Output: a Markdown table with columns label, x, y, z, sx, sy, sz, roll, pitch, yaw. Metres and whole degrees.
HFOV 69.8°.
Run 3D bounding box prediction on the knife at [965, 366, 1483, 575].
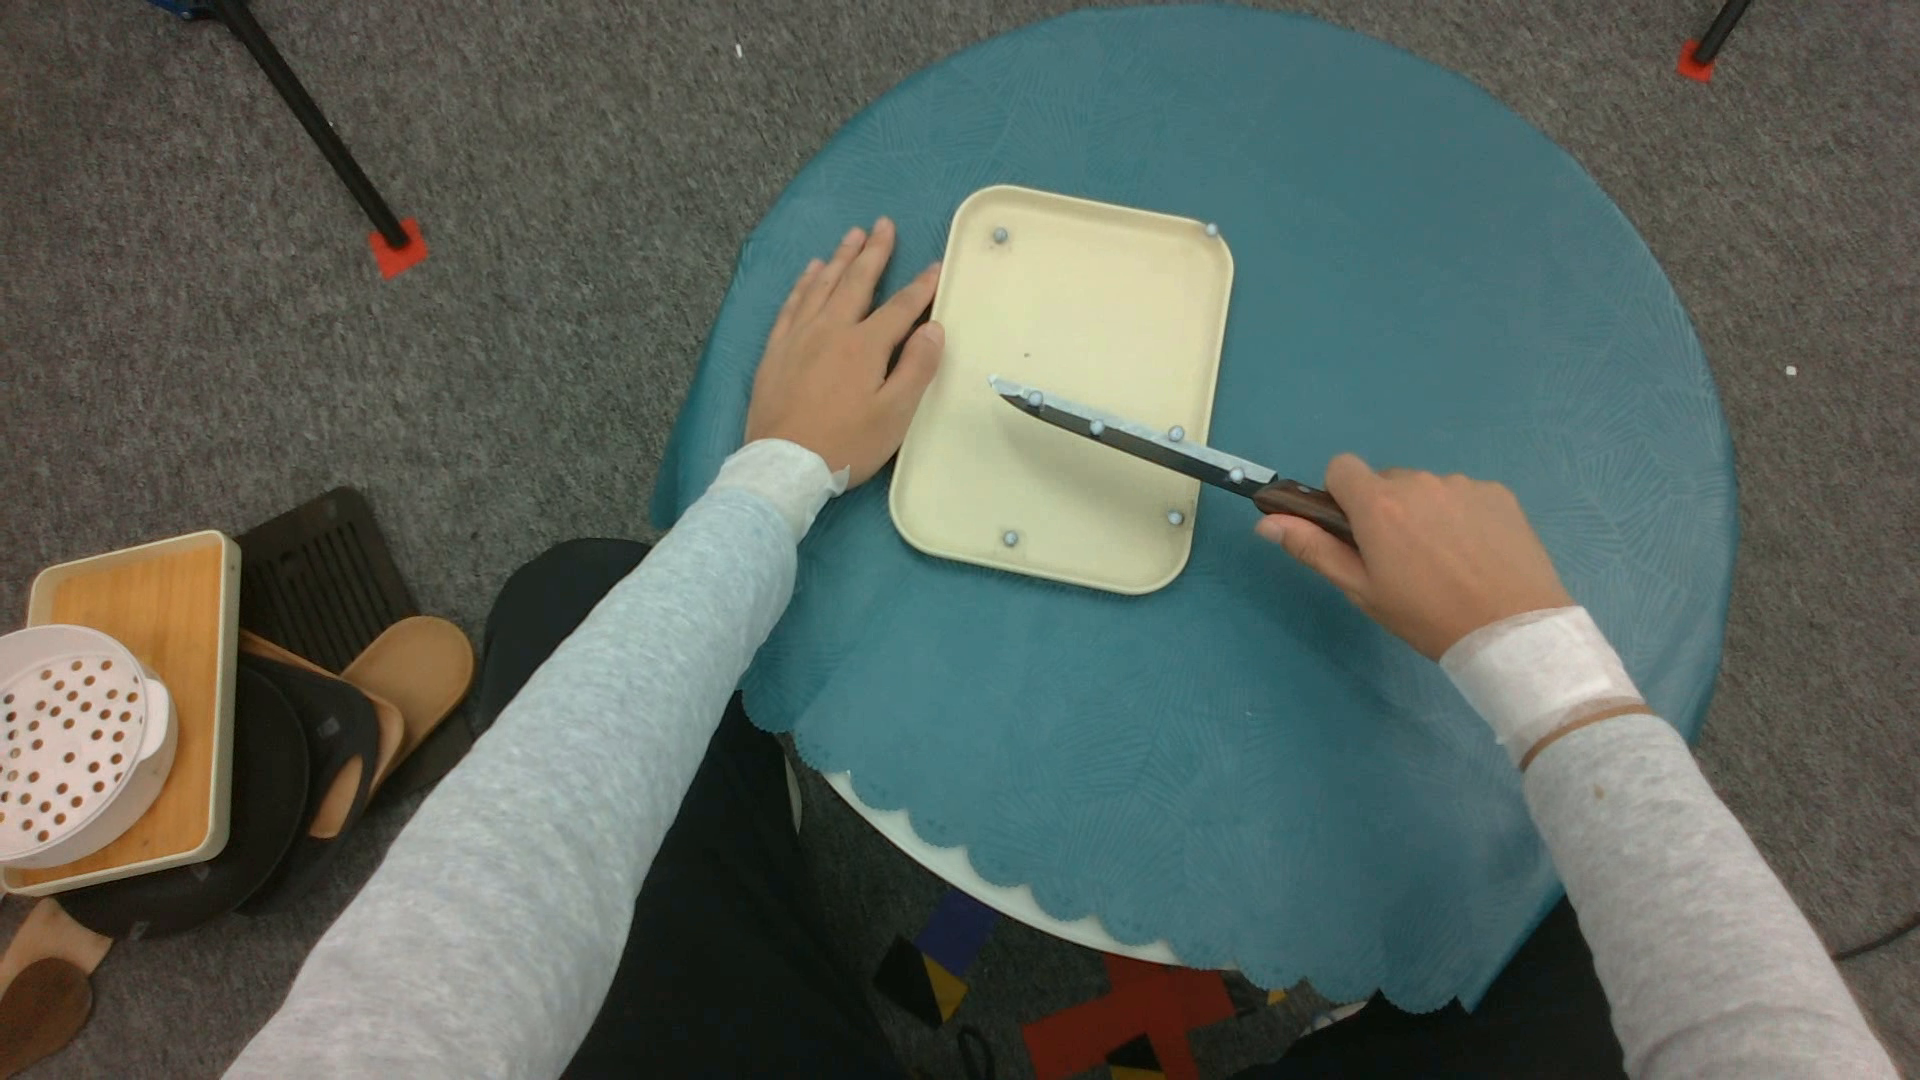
| label | x | y | z | sx | sy | sz | roll | pitch | yaw |
| --- | --- | --- | --- | --- | --- | --- | --- | --- | --- |
| knife | 0.130 | -0.043 | 0.722 | 0.289 | 0.020 | 0.050 | 22 | 27 | 16 |

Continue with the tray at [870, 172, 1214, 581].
| label | x | y | z | sx | sy | sz | roll | pitch | yaw |
| --- | --- | --- | --- | --- | --- | --- | --- | --- | --- |
| tray | 0.050 | -0.098 | 0.793 | 0.171 | 0.017 | 0.240 | 12 | 71 | 1 |
